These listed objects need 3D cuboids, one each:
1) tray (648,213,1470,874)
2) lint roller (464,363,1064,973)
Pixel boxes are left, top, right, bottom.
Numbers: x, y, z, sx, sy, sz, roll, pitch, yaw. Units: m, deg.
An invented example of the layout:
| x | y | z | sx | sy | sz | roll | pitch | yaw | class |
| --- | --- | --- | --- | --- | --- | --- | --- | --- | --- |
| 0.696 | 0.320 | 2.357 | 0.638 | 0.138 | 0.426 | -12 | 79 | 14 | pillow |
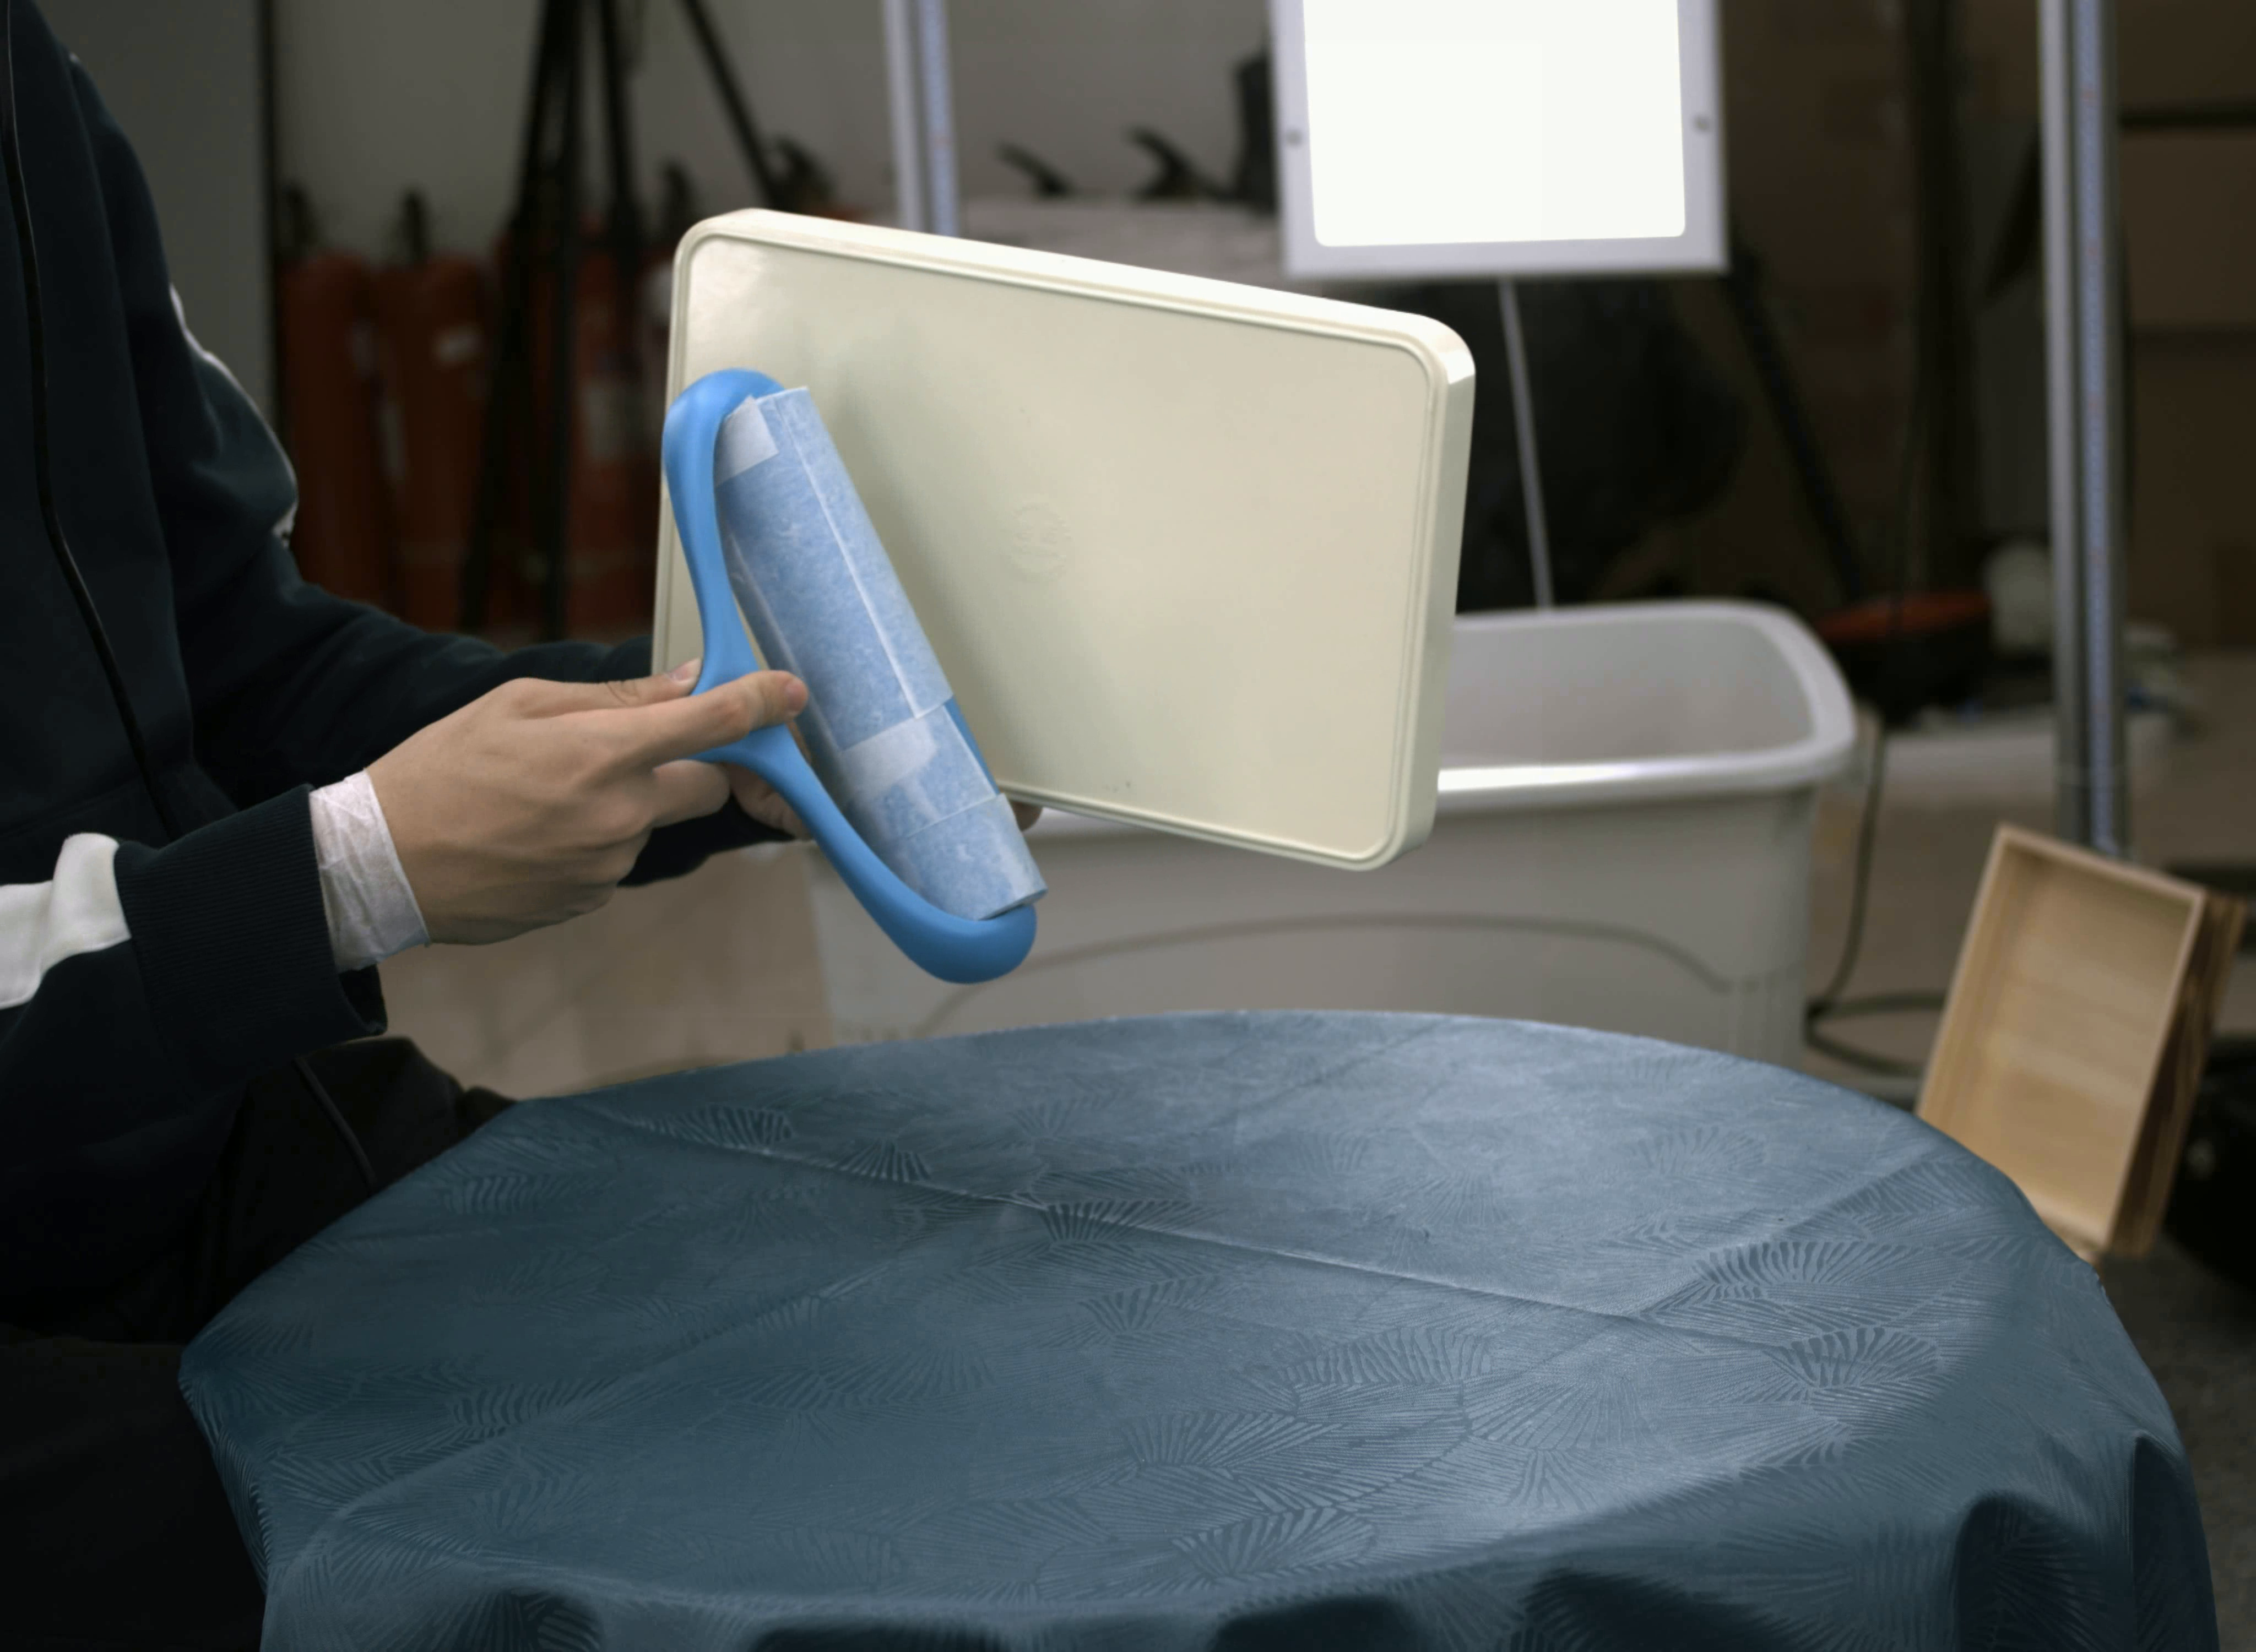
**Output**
| x | y | z | sx | sy | sz | roll | pitch | yaw | class |
| --- | --- | --- | --- | --- | --- | --- | --- | --- | --- |
| -0.029 | -0.100 | 1.899 | 0.305 | 0.193 | 0.027 | 11 | 17 | 27 | tray |
| -0.136 | -0.029 | 1.854 | 0.177 | 0.229 | 0.069 | -29 | -1 | -24 | lint roller |
